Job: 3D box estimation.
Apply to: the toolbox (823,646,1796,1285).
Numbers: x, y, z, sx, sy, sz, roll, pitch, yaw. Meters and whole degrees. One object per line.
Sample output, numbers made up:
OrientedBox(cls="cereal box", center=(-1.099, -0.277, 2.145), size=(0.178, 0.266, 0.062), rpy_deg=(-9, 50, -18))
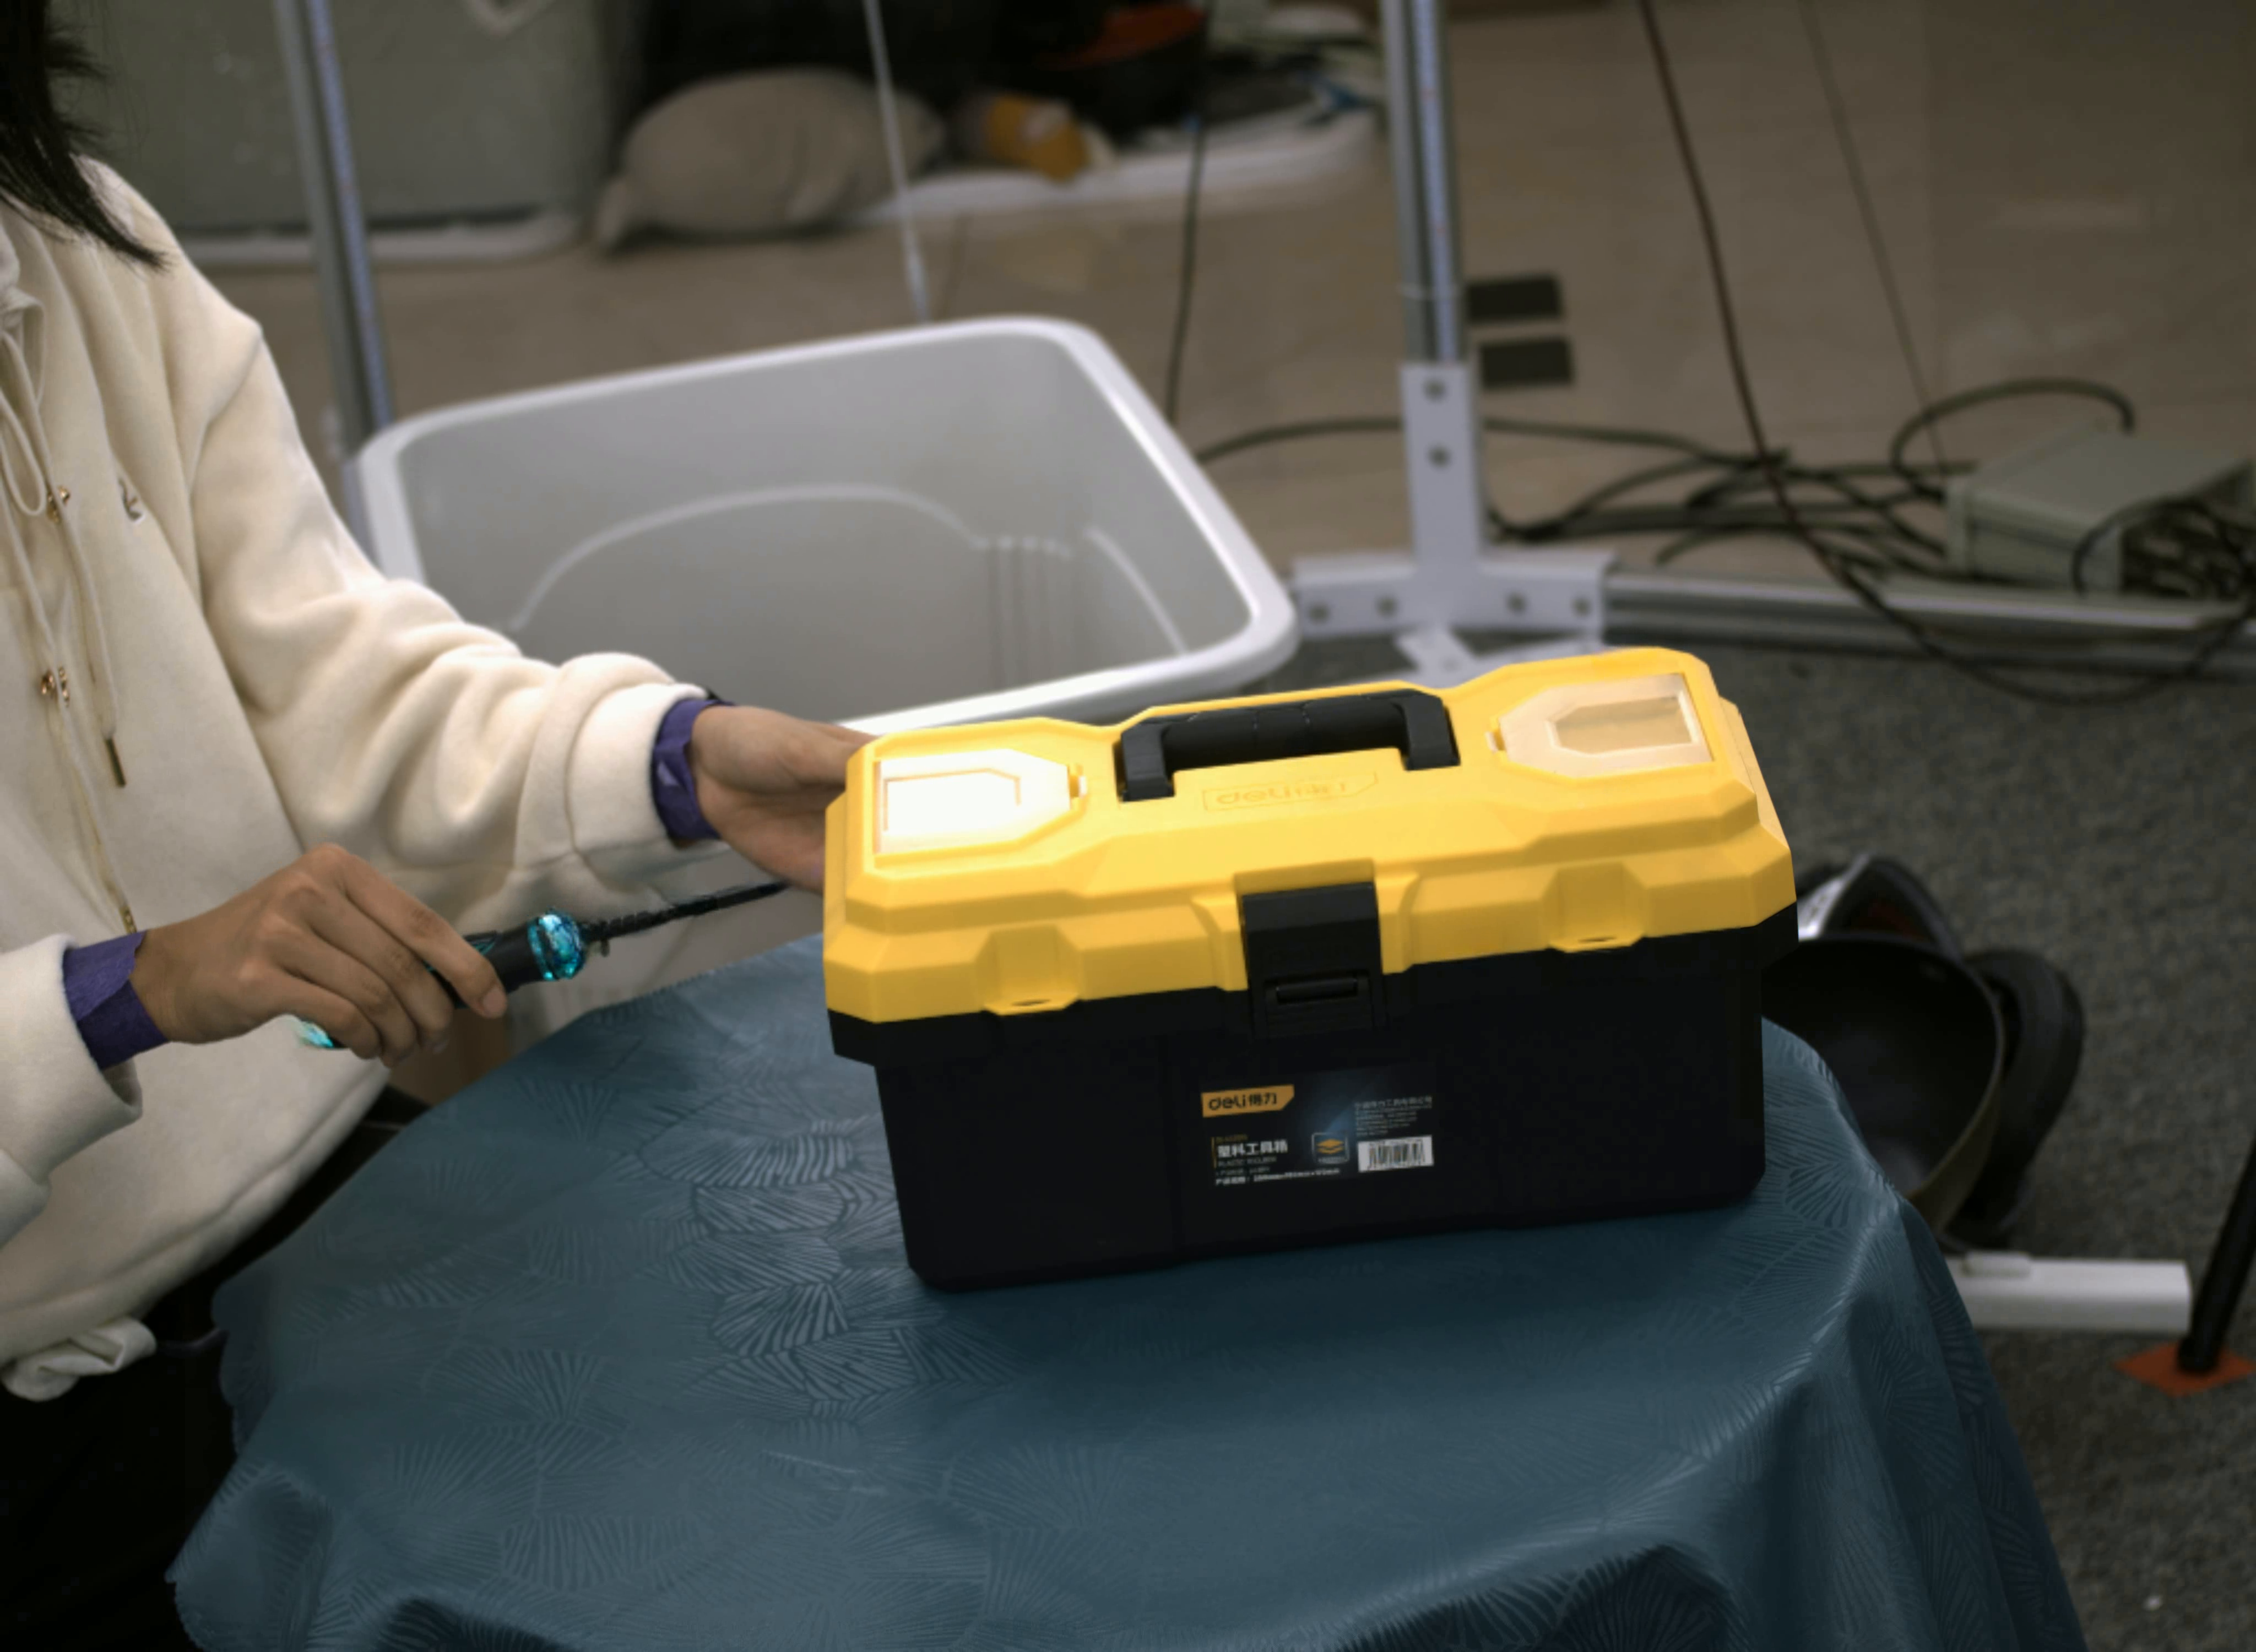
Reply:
OrientedBox(cls="toolbox", center=(0.067, 0.053, 2.107), size=(0.351, 0.175, 0.178), rpy_deg=(-6, 25, 1))

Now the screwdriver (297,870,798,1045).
OrientedBox(cls="screwdriver", center=(-0.210, 0.044, 2.051), size=(0.190, 0.034, 0.033), rpy_deg=(-15, 24, 8))
